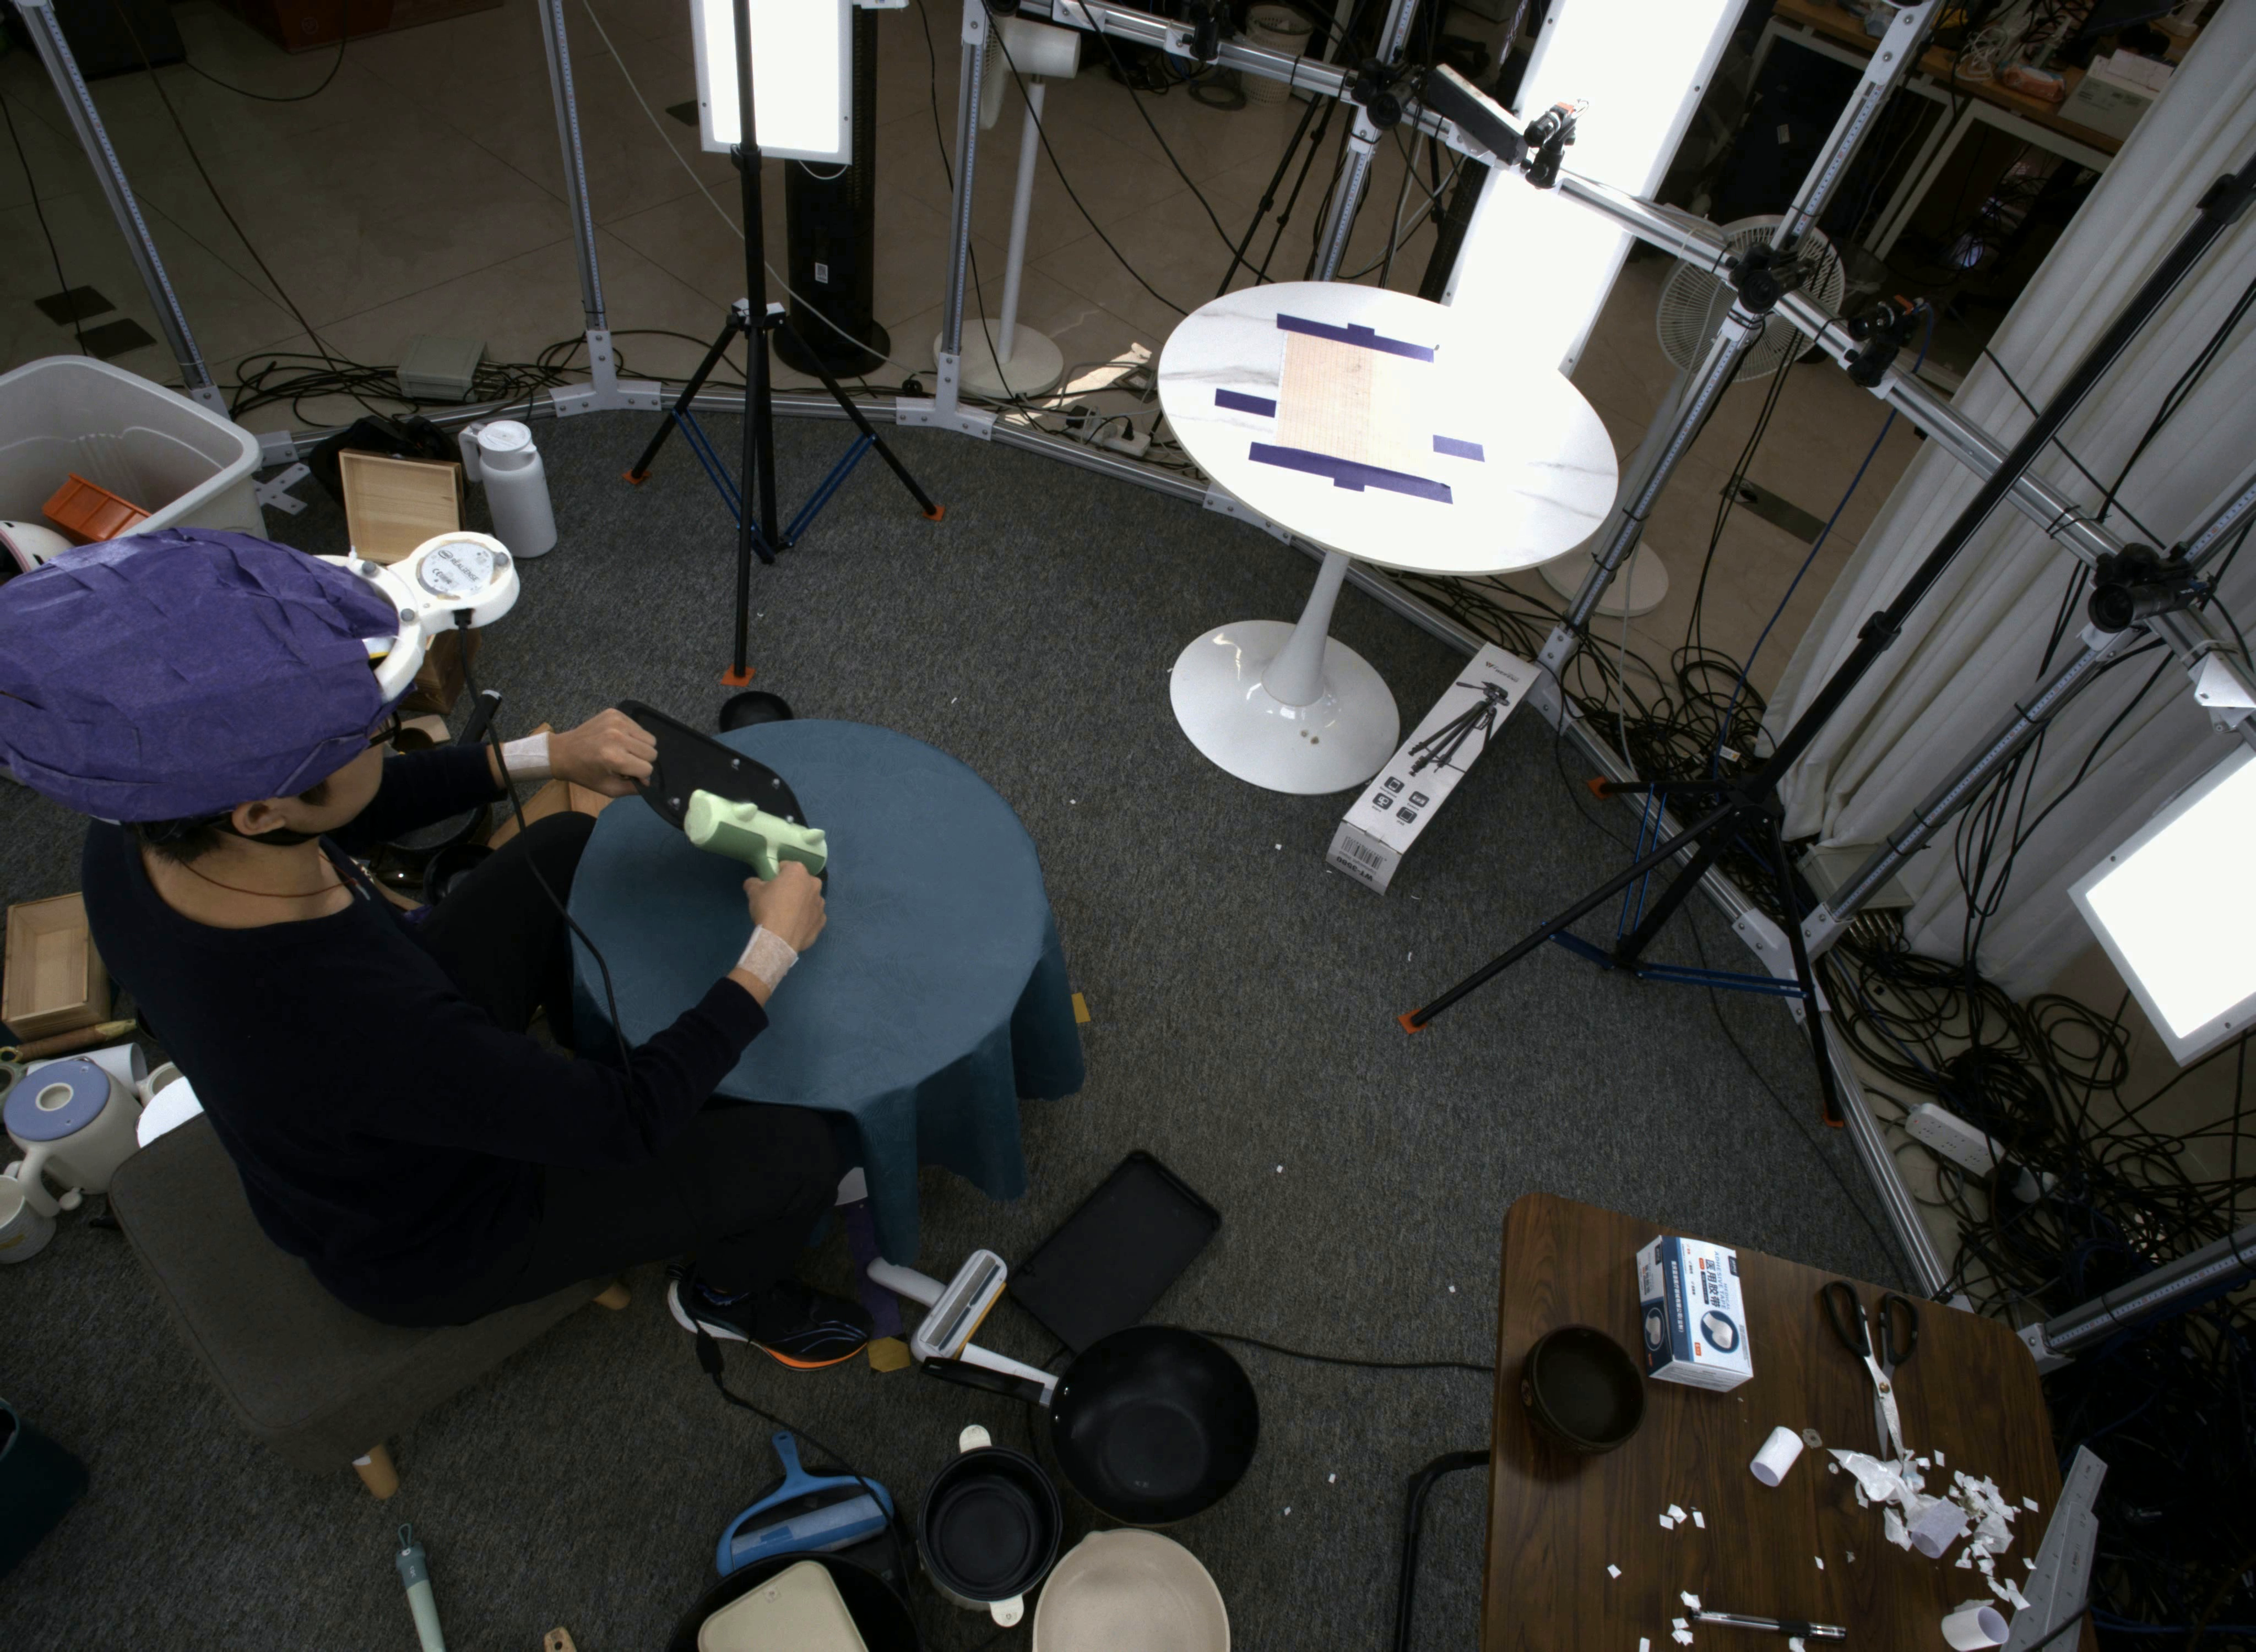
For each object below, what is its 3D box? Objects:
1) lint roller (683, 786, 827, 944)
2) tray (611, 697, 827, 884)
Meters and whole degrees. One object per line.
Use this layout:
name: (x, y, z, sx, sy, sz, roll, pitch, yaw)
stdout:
lint roller: (-0.390, 0.041, 1.458, 0.082, 0.204, 0.178, -44, 62, 10)
tray: (-0.496, -0.044, 1.563, 0.010, 0.336, 0.205, -38, 58, 12)
